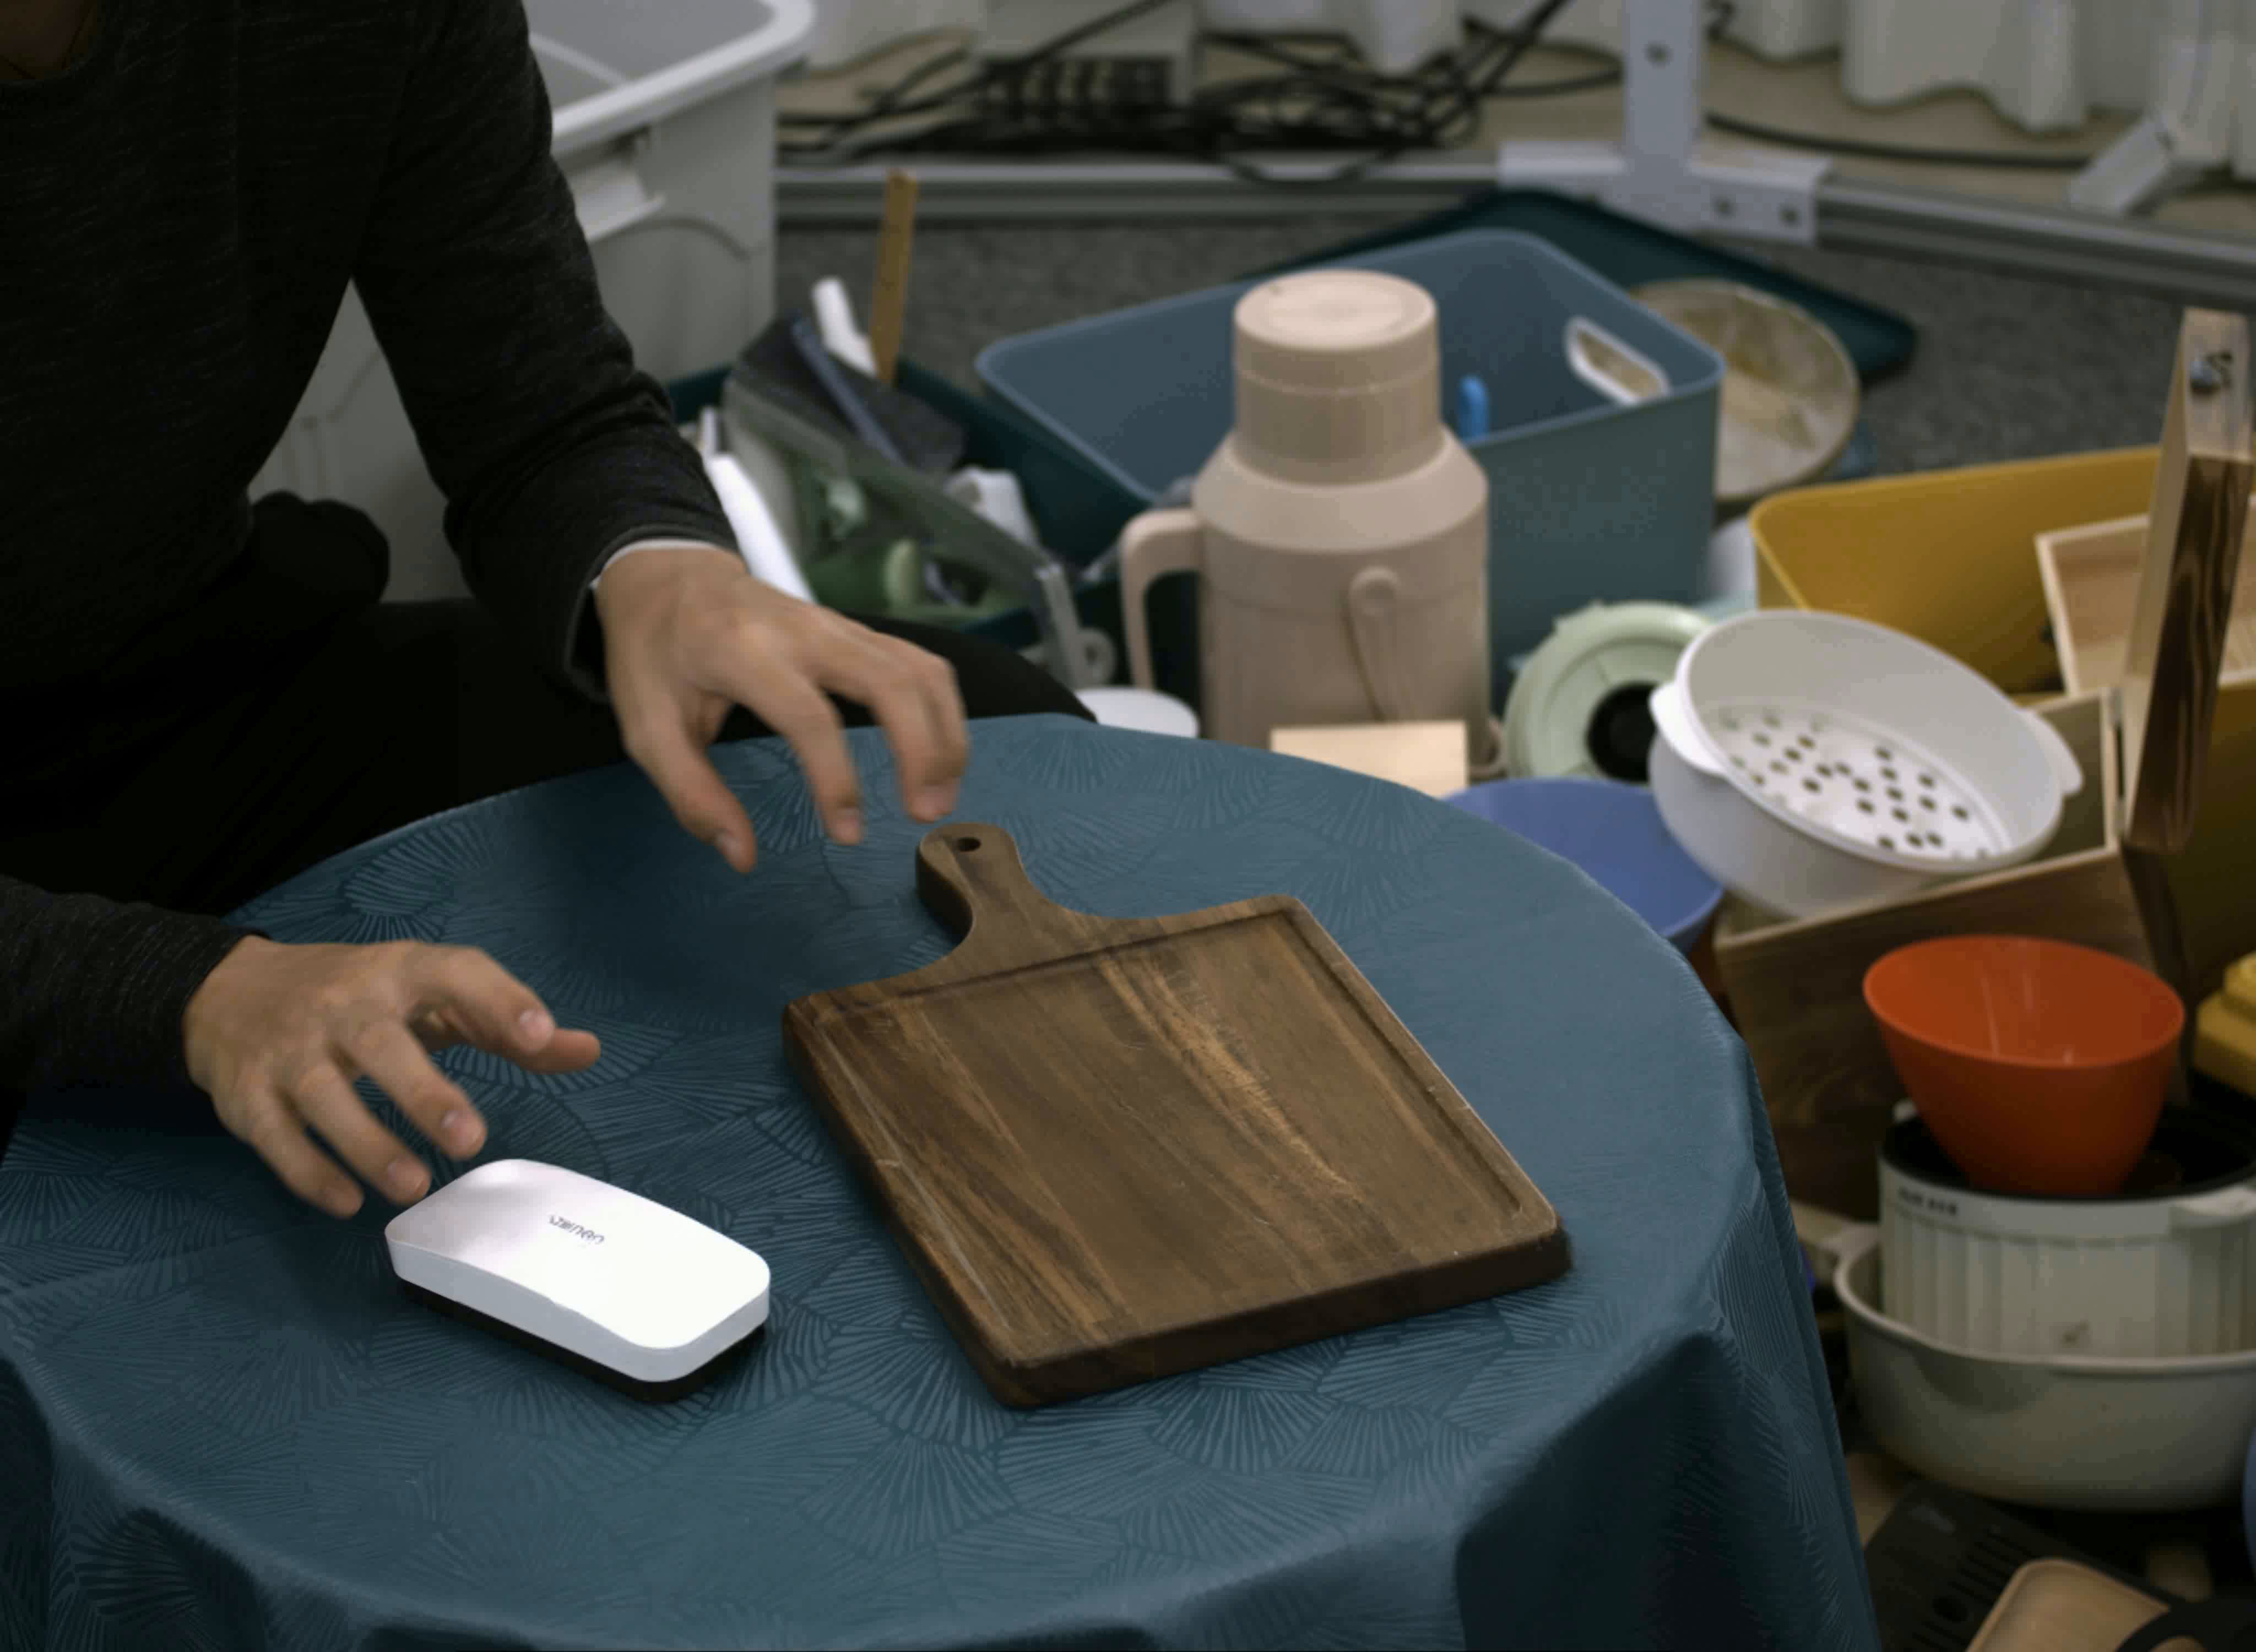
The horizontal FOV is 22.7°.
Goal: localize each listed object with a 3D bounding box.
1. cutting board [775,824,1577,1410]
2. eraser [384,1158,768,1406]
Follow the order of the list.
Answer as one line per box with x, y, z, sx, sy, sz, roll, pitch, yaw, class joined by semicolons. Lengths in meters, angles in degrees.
-0.006;0.082;1.915;0.201;0.023;0.355;-12;29;-17;cutting board
-0.177;0.143;1.804;0.131;0.034;0.064;20;36;35;eraser
